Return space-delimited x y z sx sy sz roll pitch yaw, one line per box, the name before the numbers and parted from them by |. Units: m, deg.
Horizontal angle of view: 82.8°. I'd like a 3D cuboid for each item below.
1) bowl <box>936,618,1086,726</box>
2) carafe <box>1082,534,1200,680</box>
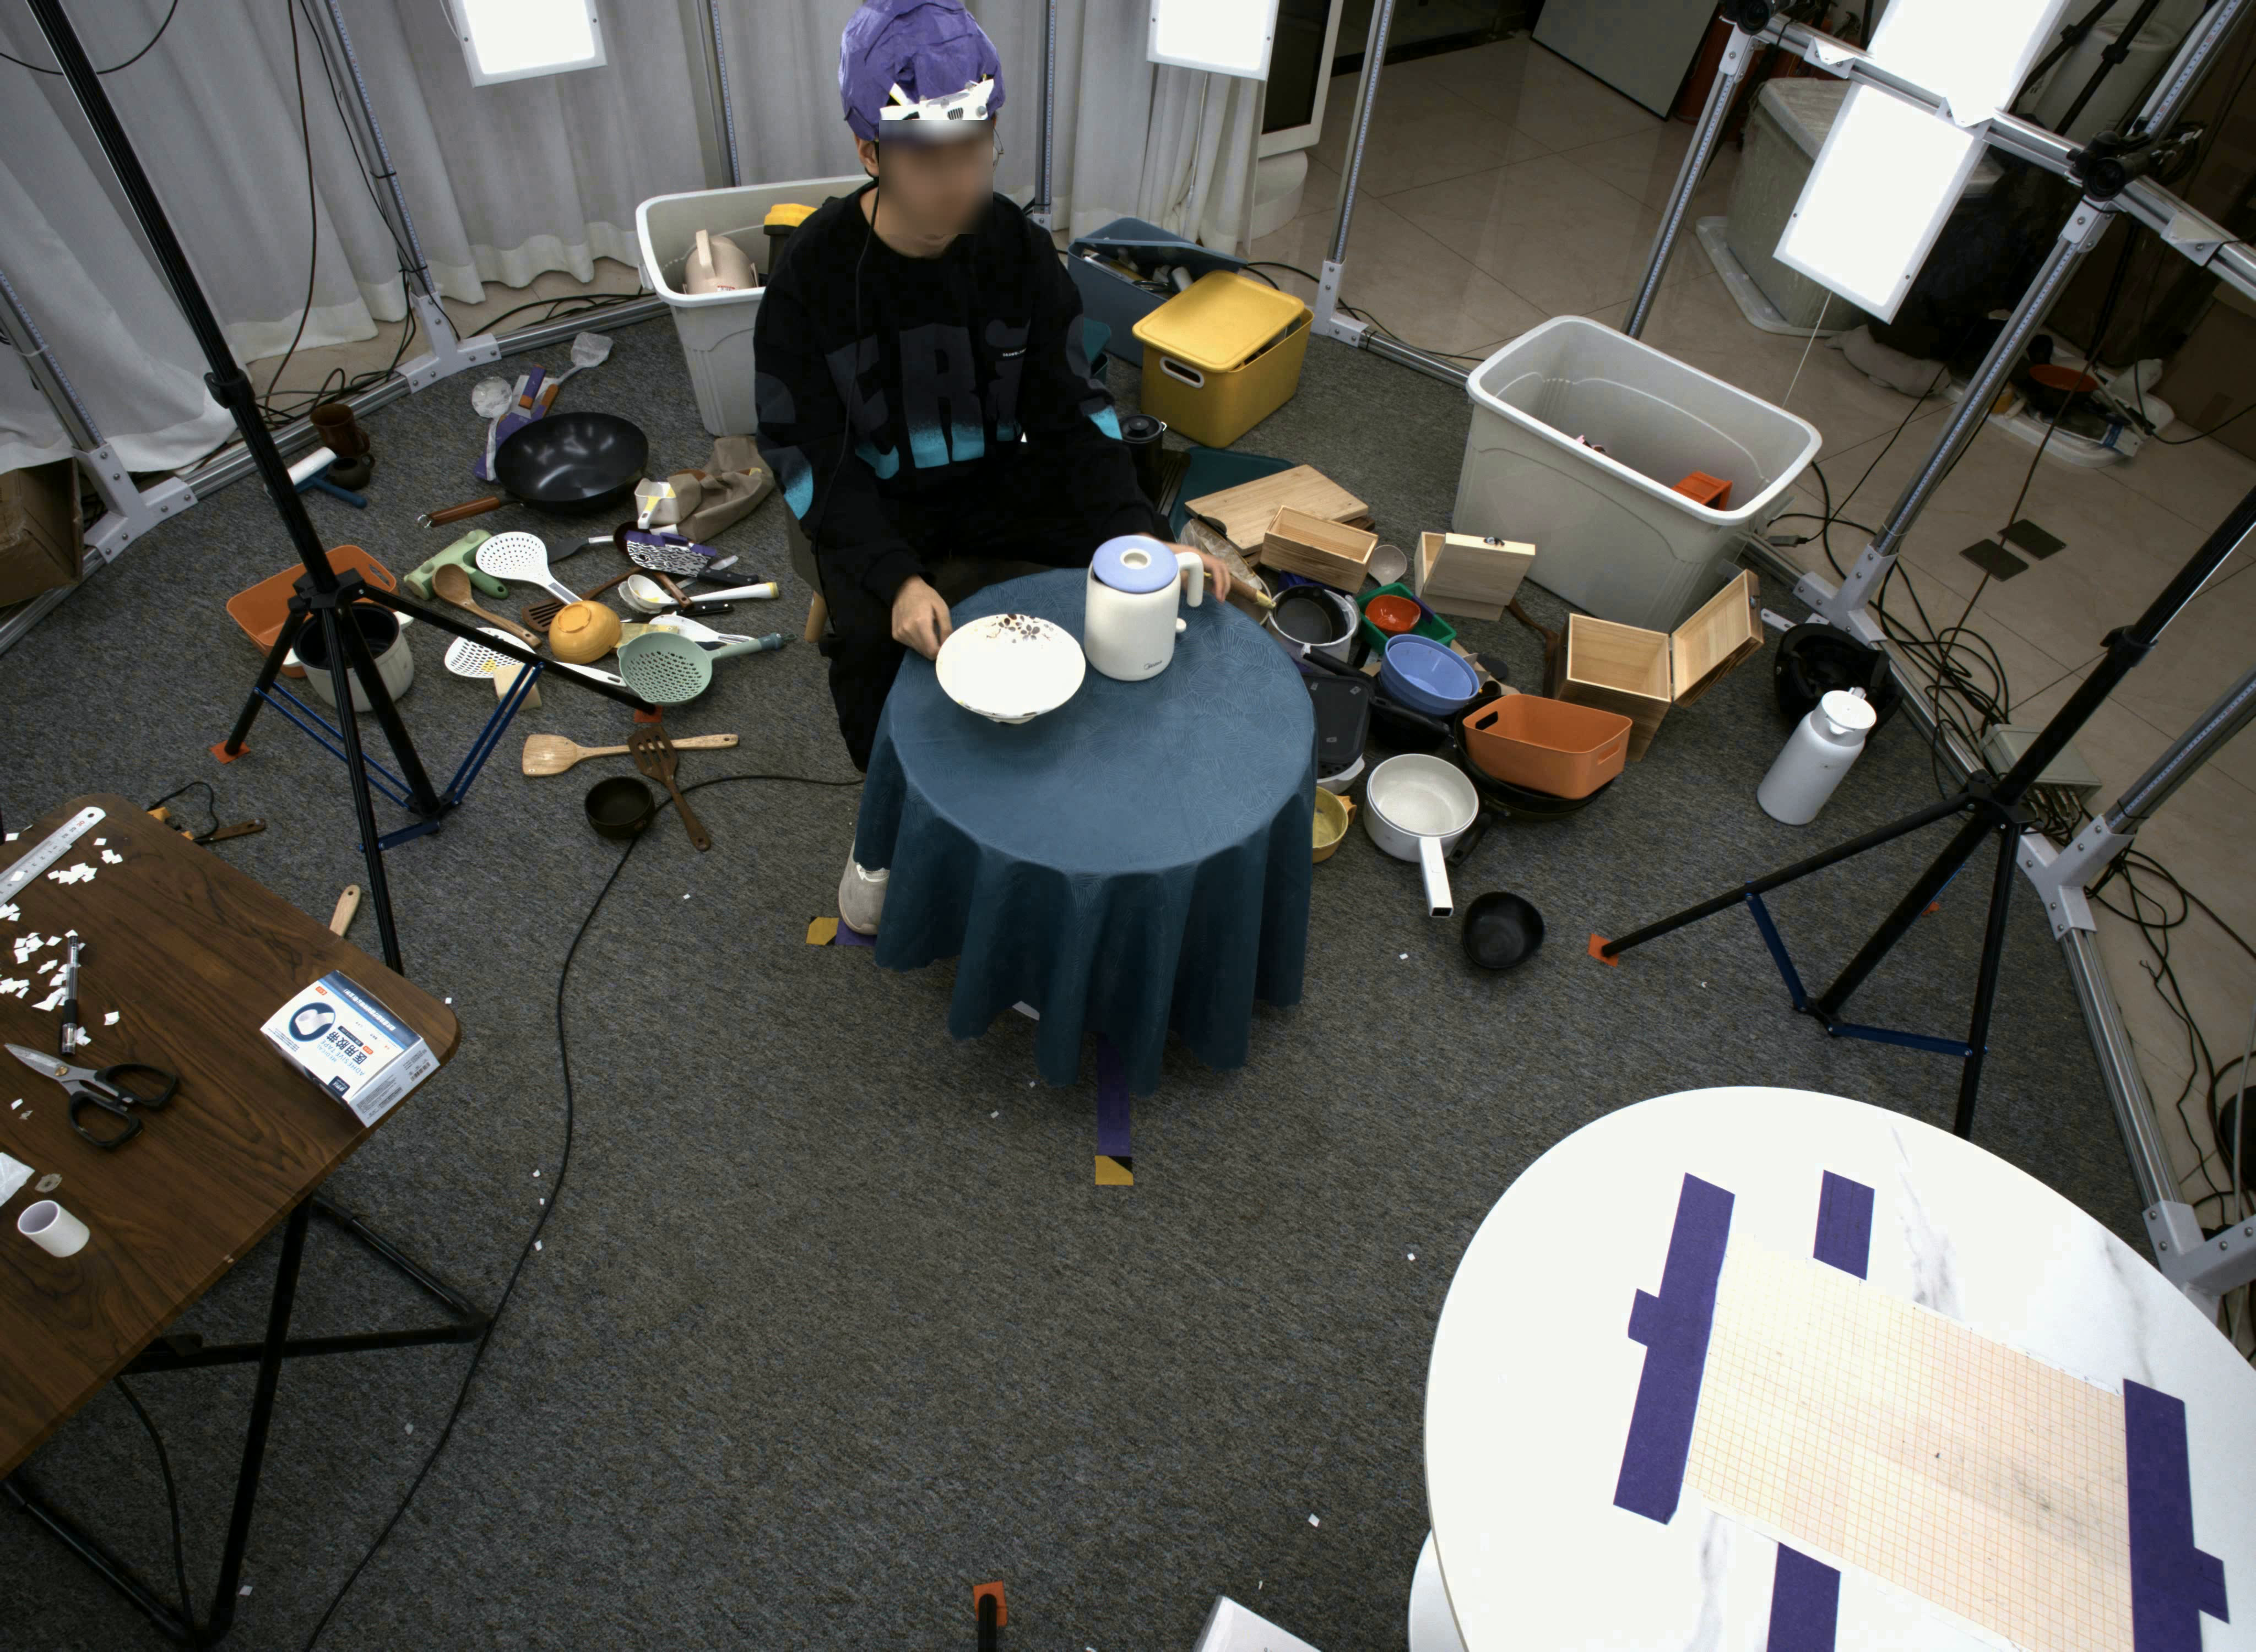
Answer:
bowl | -0.161 -0.195 1.779 0.204 0.076 0.209 1 47 -2
carafe | 0.025 -0.319 1.837 0.192 0.178 0.135 -23 56 -25
